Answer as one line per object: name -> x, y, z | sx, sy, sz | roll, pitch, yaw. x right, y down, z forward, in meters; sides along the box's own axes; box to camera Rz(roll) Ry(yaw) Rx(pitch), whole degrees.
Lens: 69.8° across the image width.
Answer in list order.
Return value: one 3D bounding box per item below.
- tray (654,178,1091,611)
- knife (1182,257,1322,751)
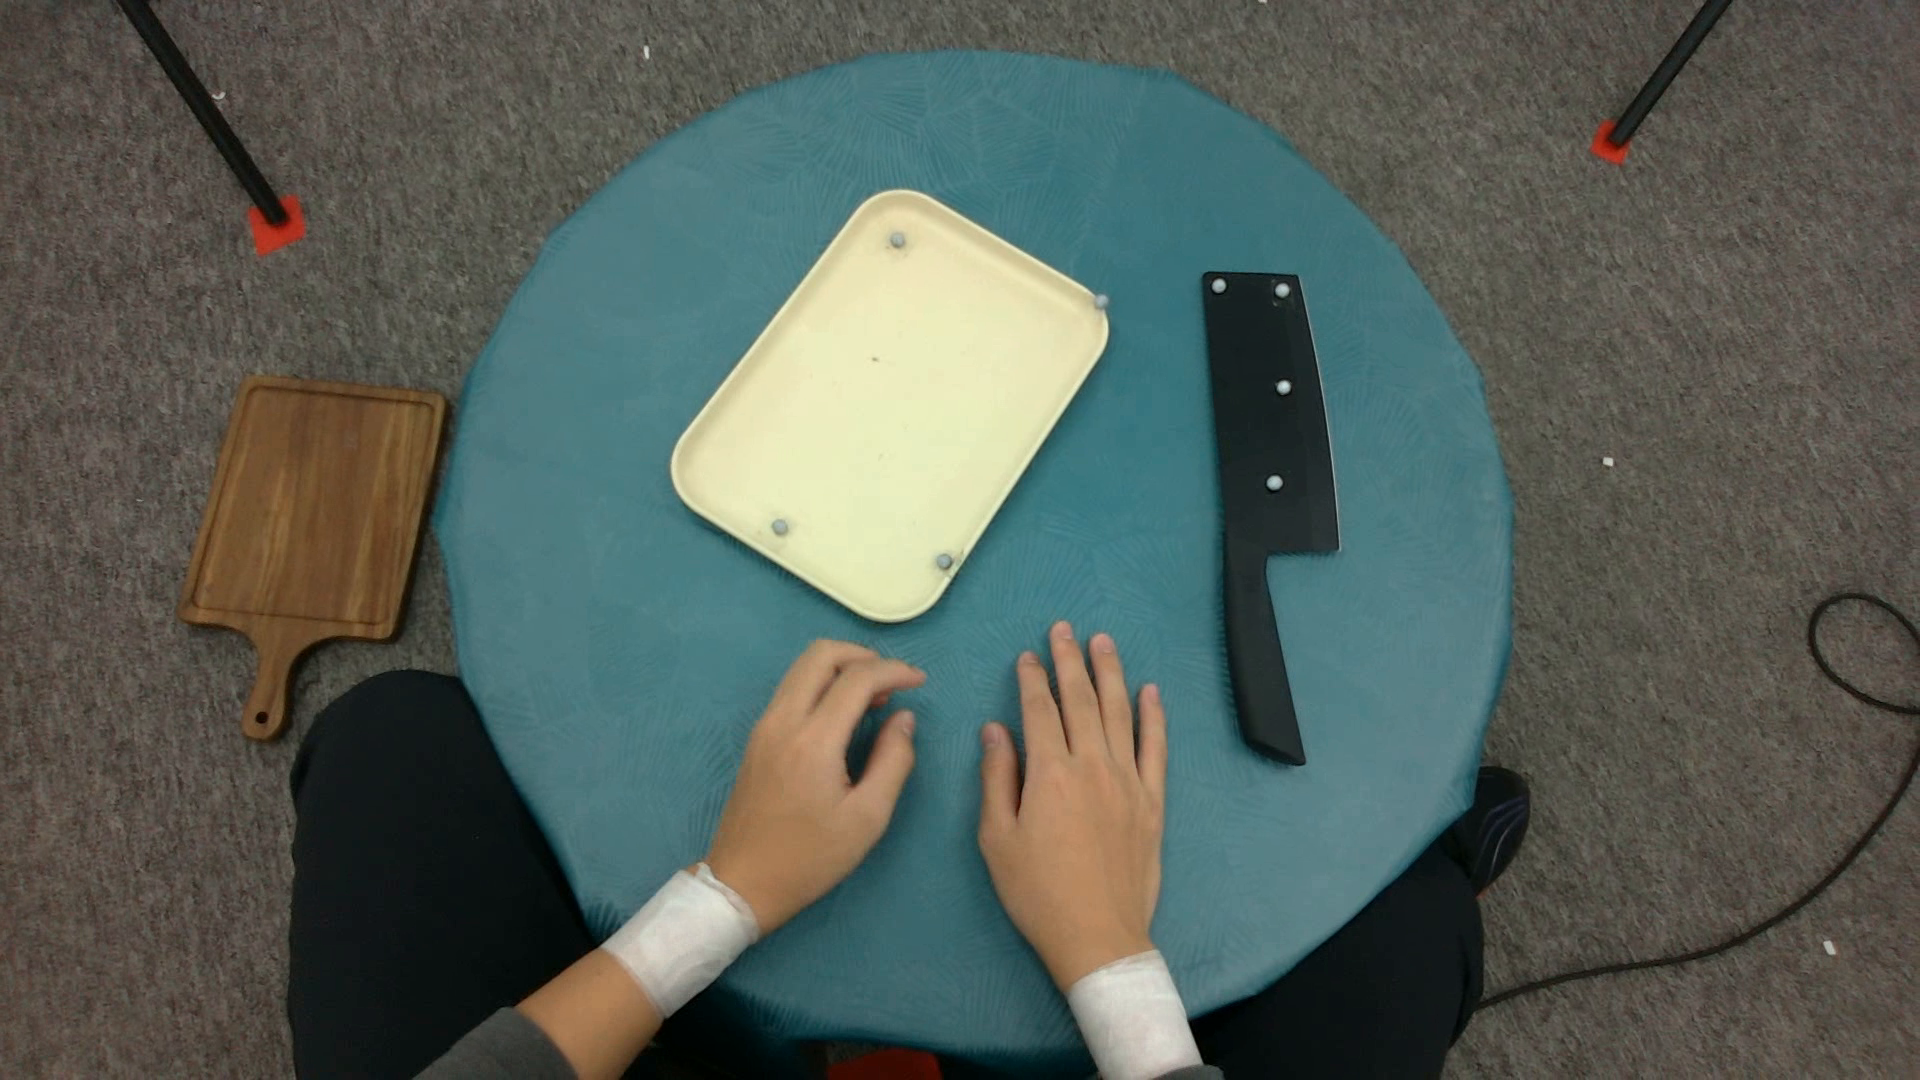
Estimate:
tray -> -0.046, -0.087, 0.781 | 0.171, 0.017, 0.240 | 31, 71, 7
knife -> 0.167, -0.031, 0.781 | 0.081, 0.021, 0.303 | 4, 69, -5
